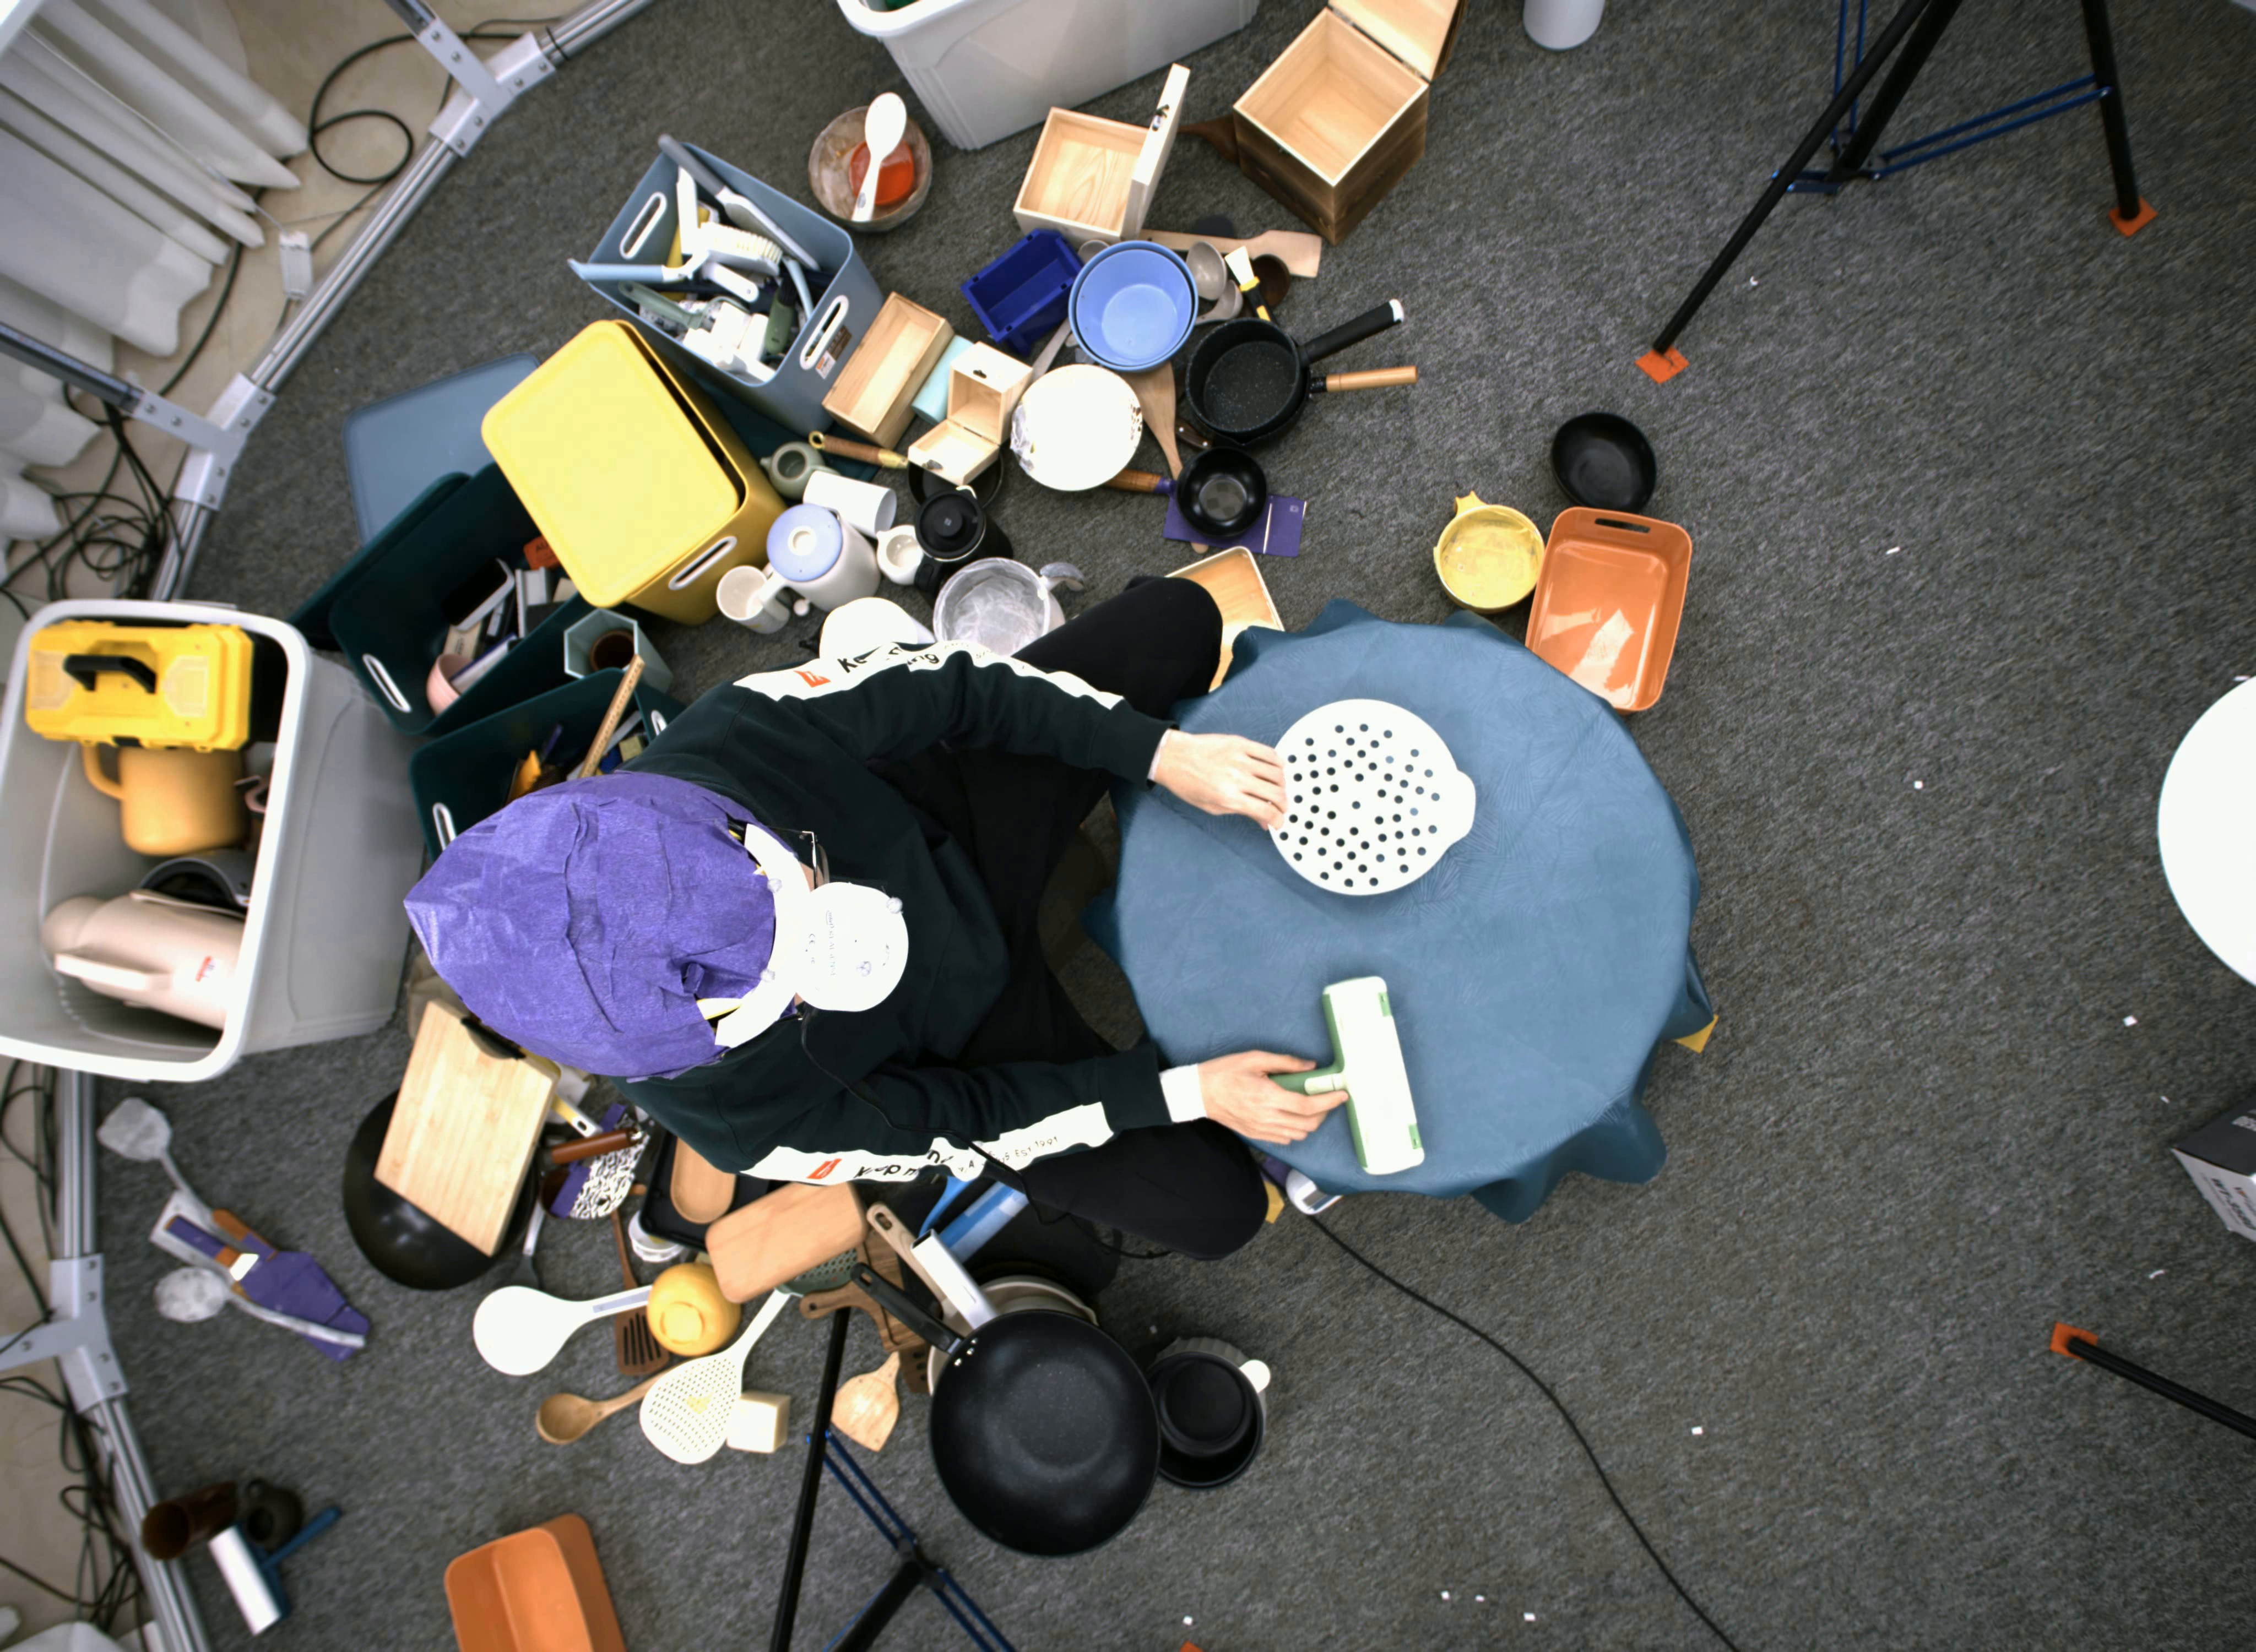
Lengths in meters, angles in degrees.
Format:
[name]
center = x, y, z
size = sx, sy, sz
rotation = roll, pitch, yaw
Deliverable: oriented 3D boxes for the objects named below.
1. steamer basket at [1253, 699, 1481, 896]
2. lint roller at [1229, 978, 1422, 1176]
[steamer basket]
center = 0.244, -0.028, 1.426
size = 0.231, 0.069, 0.201
rotation = 6, 86, 5
[lint roller]
center = 0.192, 0.266, 1.417
size = 0.184, 0.082, 0.198
rotation = -12, 87, 6
